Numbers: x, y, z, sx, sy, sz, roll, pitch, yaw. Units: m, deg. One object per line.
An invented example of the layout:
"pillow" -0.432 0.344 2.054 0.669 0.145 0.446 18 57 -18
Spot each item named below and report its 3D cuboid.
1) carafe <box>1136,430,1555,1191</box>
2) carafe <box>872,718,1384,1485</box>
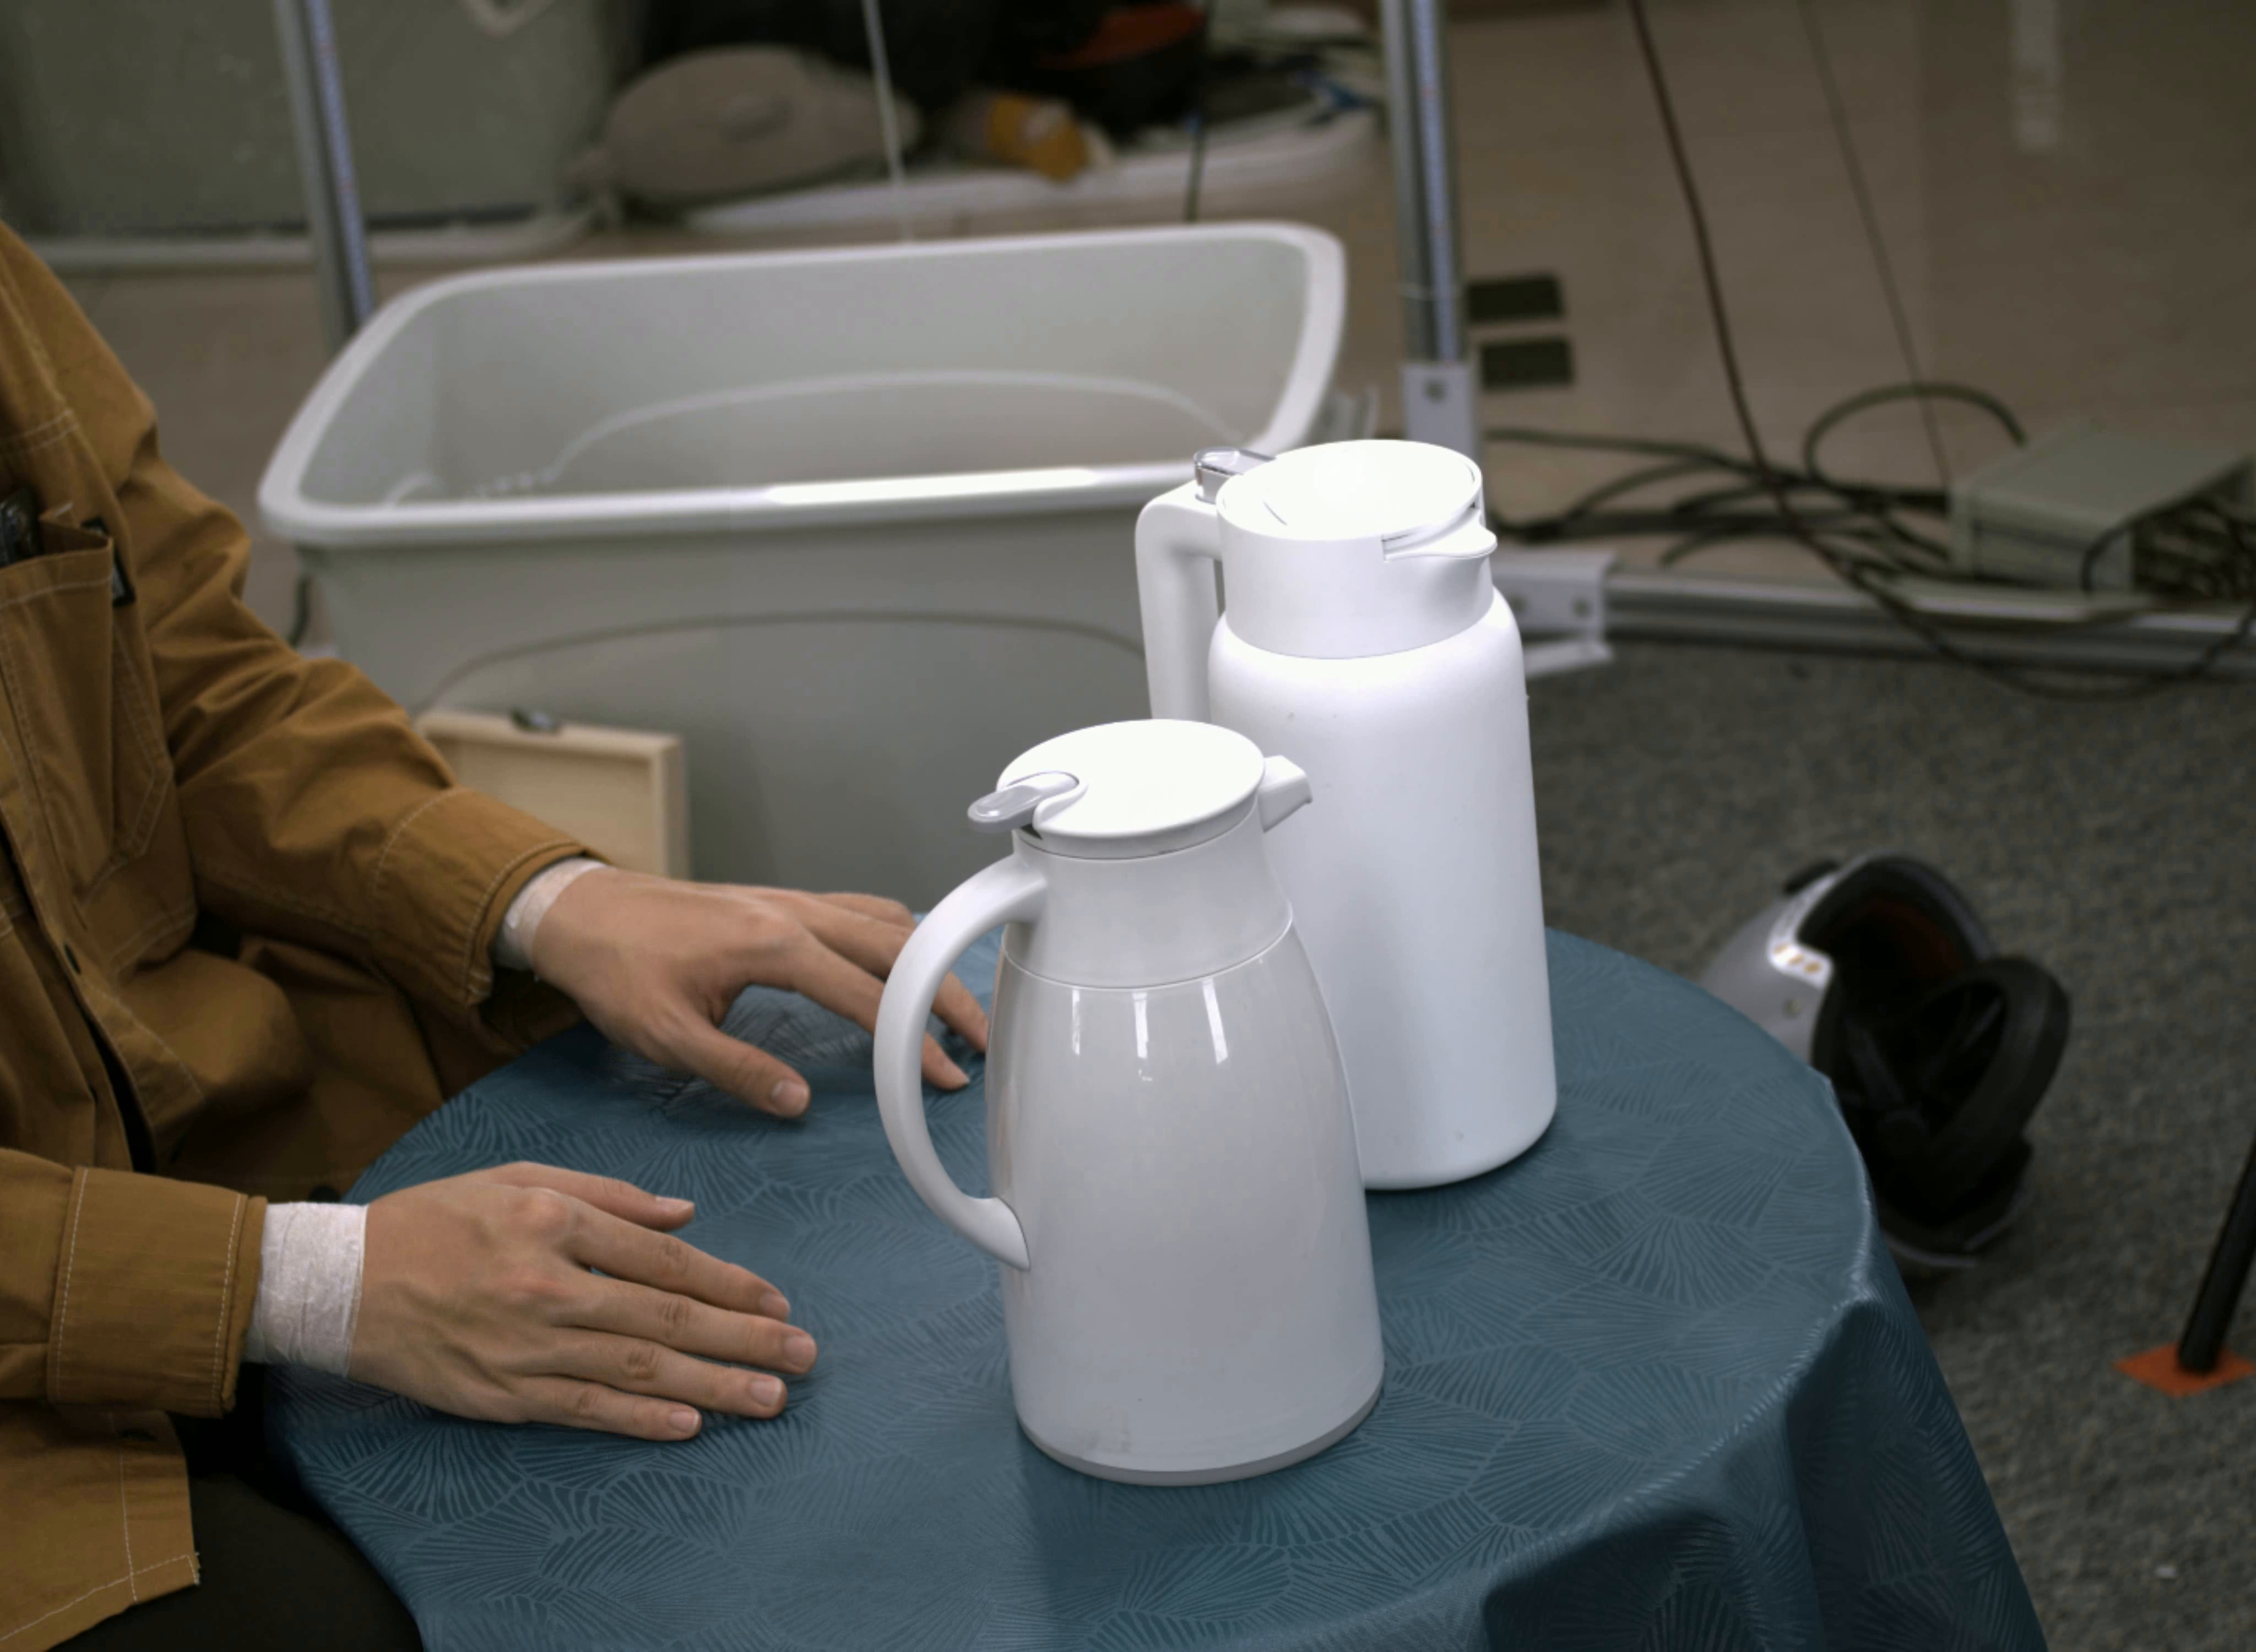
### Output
"carafe" 0.080 -0.008 2.124 0.171 0.273 0.122 18 37 41
"carafe" -0.004 0.094 1.950 0.167 0.252 0.131 -18 28 -21
